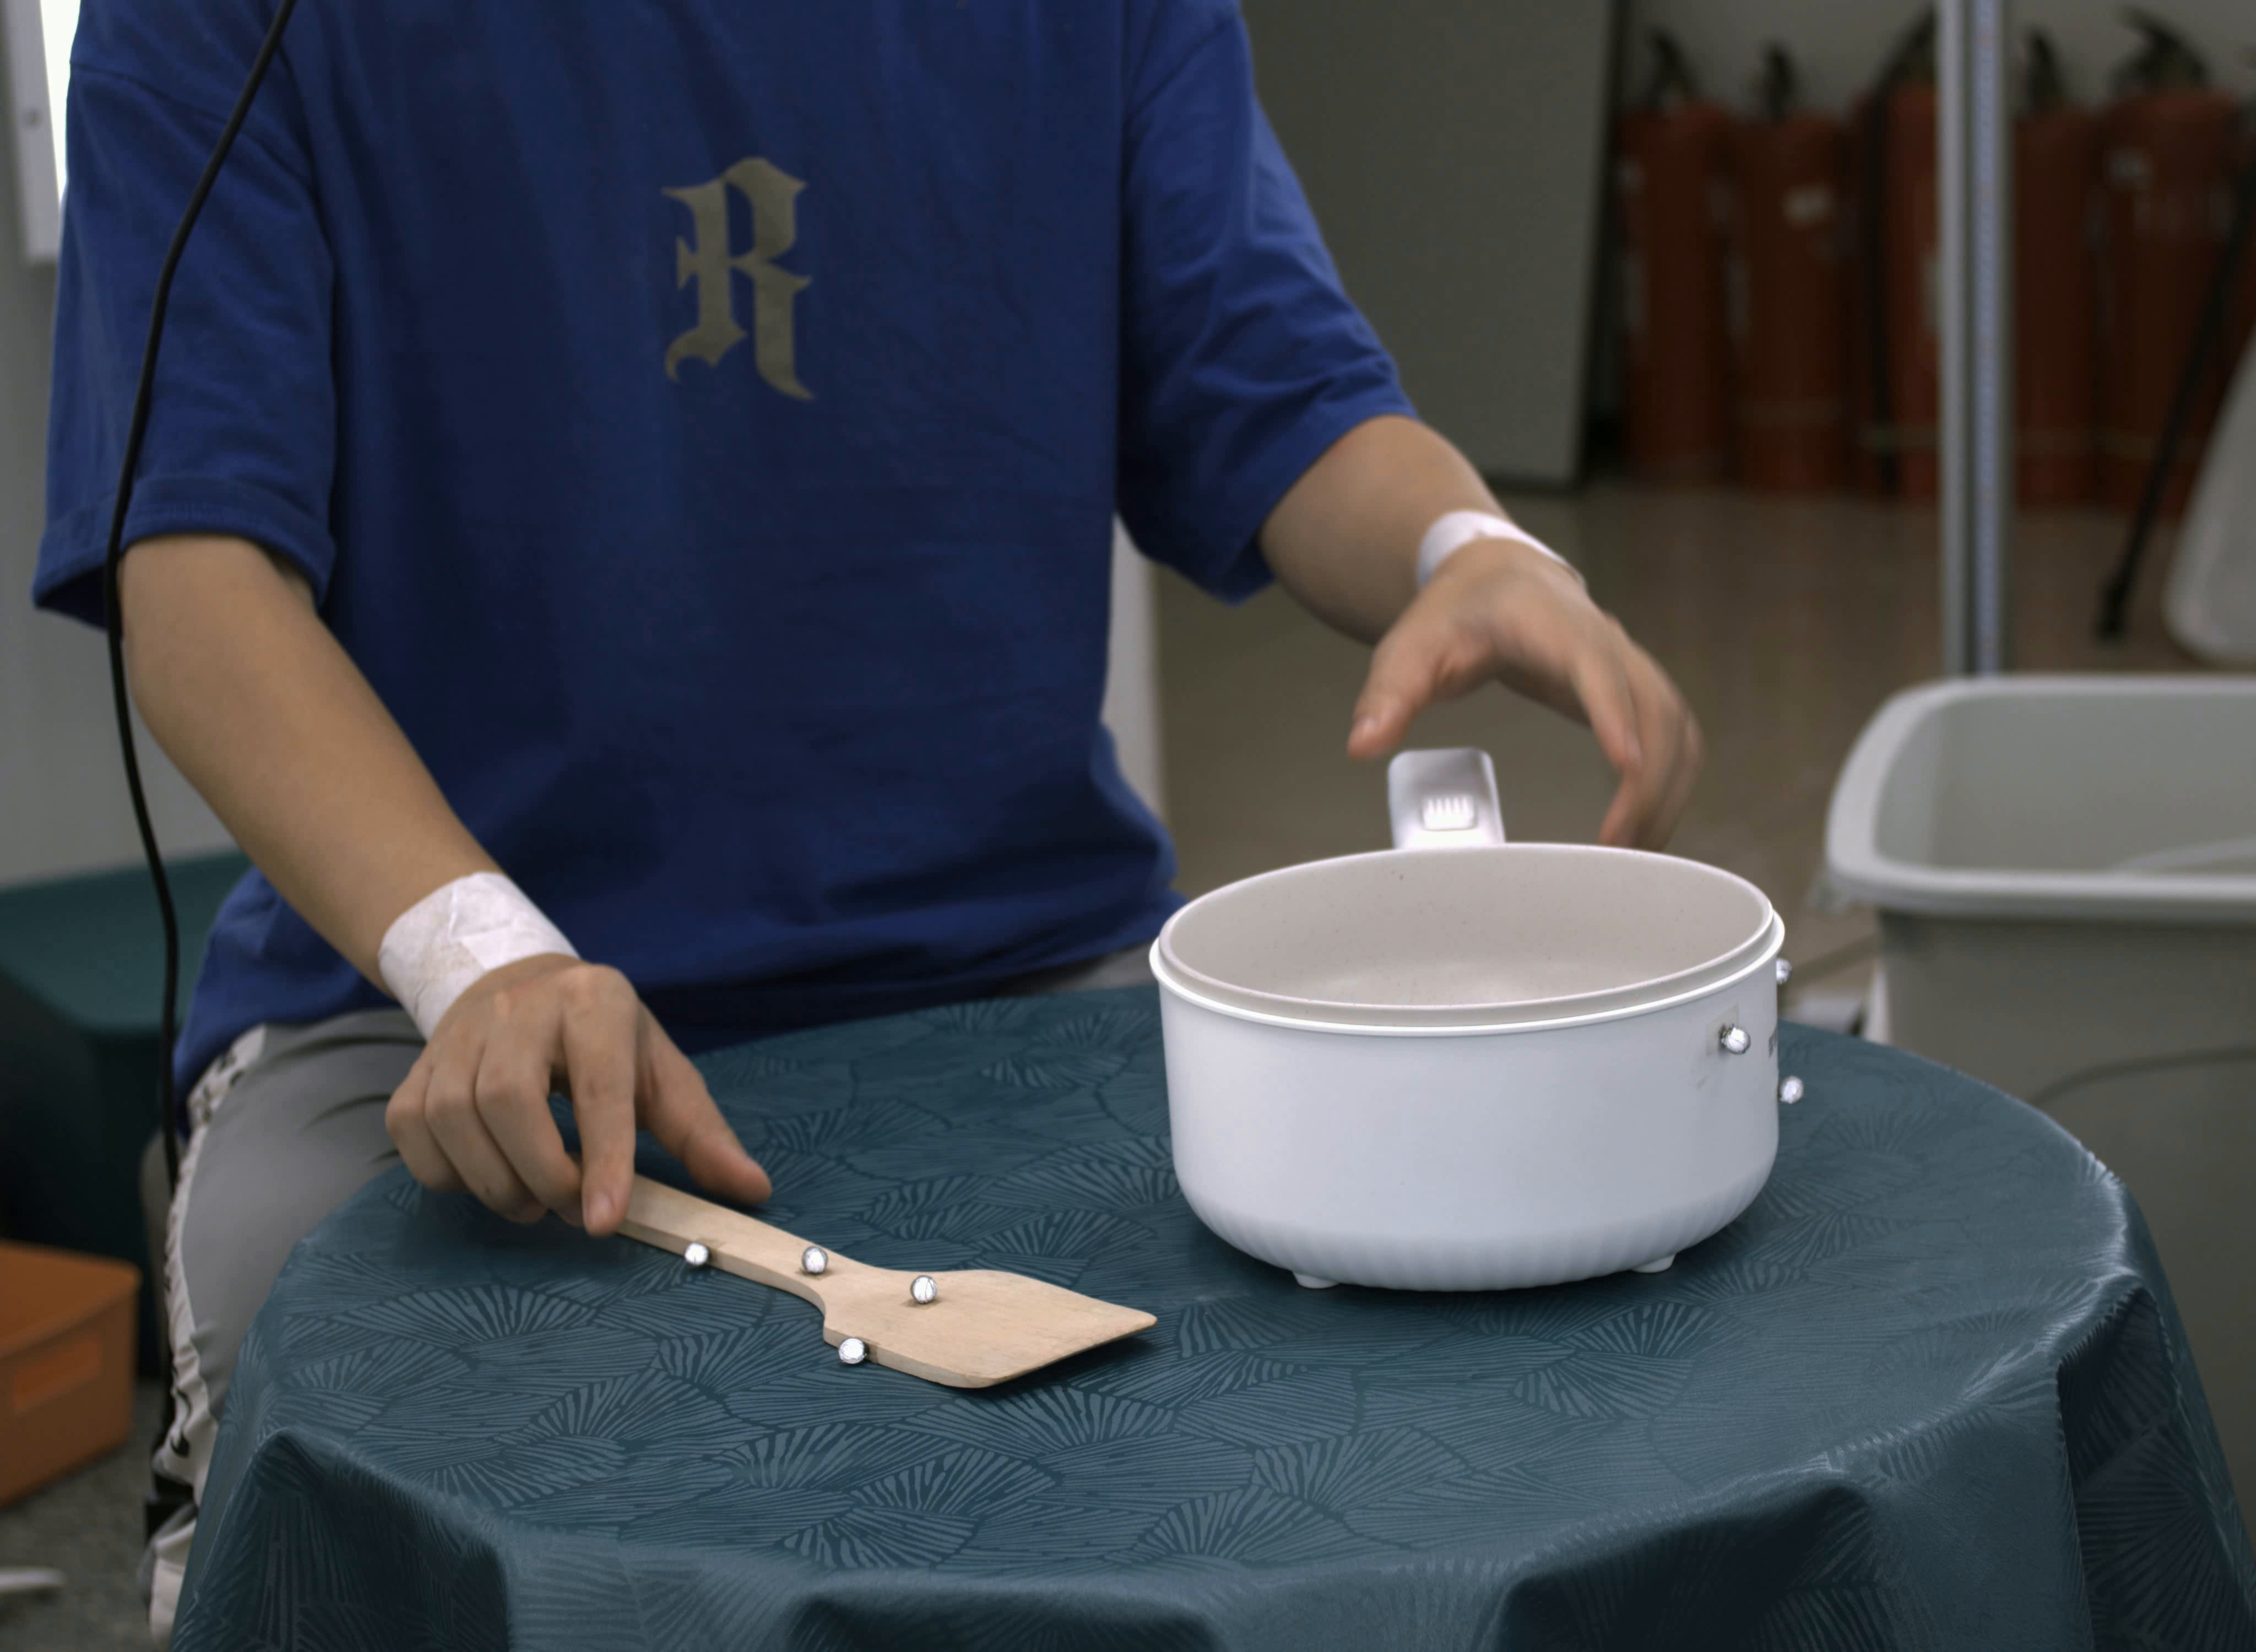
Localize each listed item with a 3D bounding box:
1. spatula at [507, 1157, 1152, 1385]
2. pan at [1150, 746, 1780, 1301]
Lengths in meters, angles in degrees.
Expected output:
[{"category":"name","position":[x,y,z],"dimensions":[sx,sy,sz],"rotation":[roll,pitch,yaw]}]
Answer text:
[{"category":"spatula","position":[-0.109,0.138,1.714],"dimensions":[0.071,0.011,0.296],"rotation":[-15,18,-37]},{"category":"pan","position":[0.111,0.061,1.779],"dimensions":[0.199,0.103,0.355],"rotation":[-5,14,3]}]
